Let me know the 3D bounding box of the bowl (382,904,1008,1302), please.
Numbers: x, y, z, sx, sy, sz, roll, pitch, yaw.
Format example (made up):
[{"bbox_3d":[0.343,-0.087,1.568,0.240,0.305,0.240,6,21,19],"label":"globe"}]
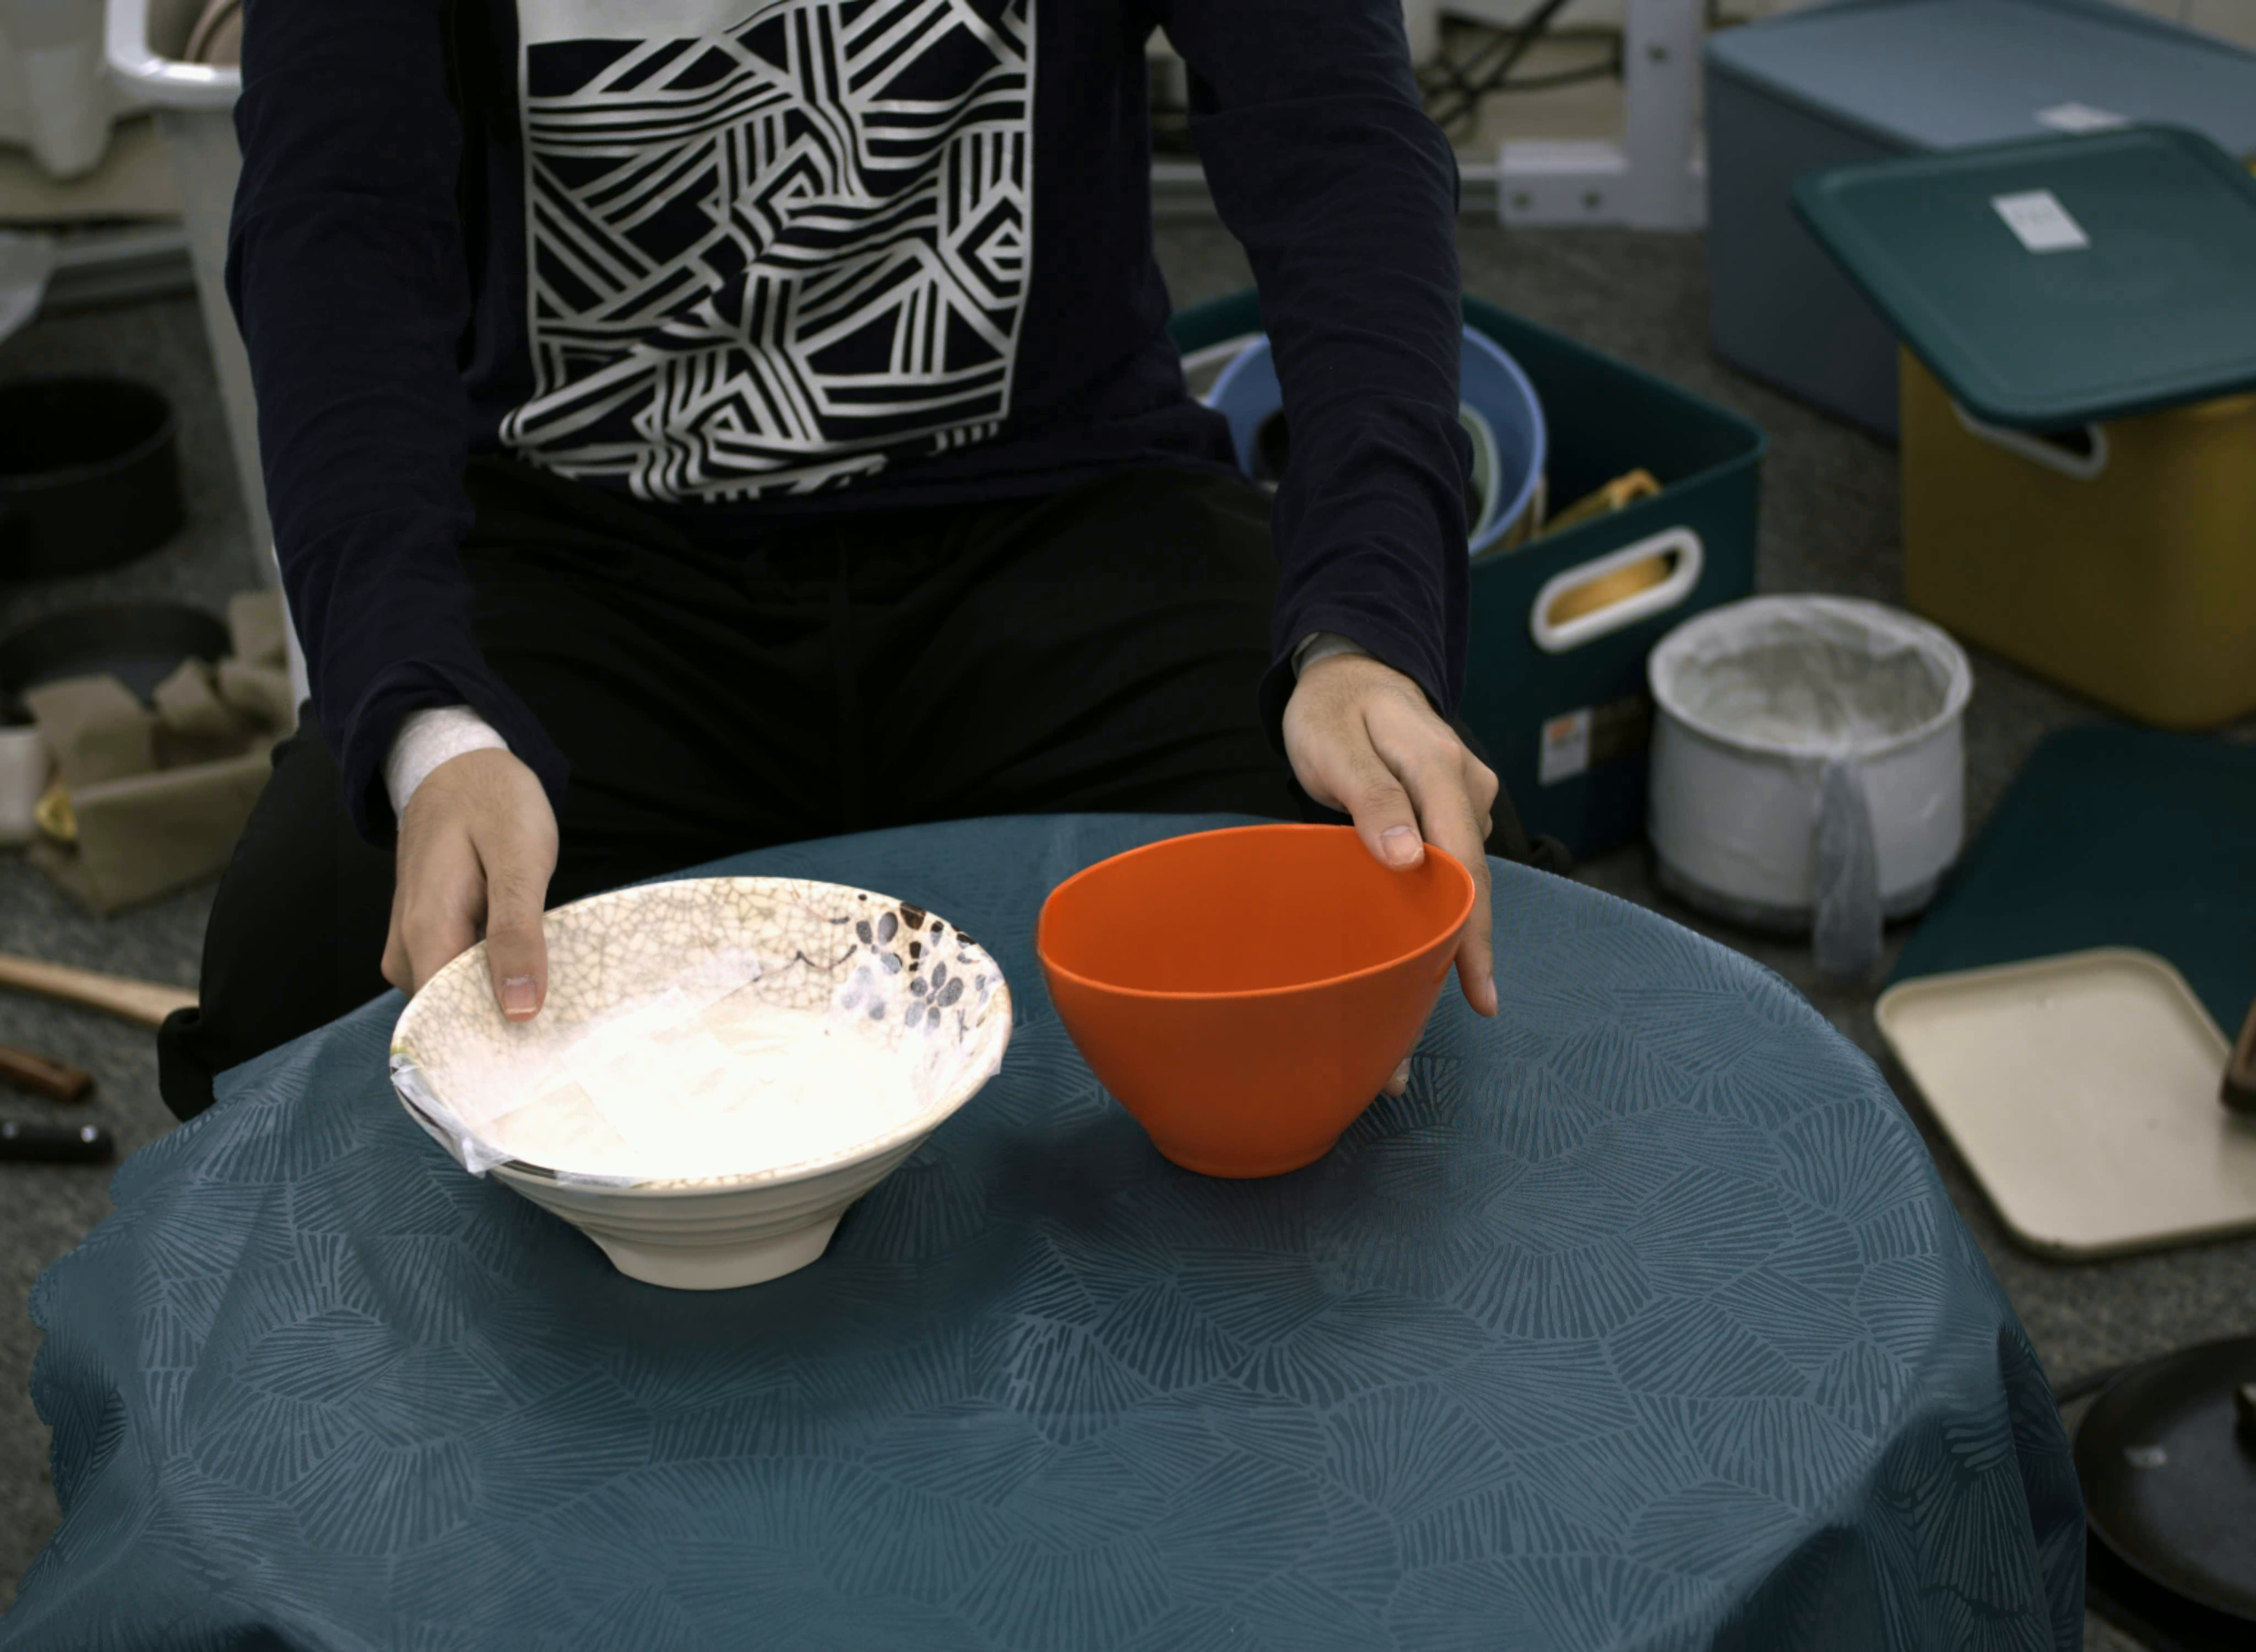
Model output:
[{"bbox_3d":[-0.140,0.102,1.837,0.203,0.077,0.206,-1,23,1],"label":"bowl"}]

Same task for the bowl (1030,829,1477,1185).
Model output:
[{"bbox_3d":[0.042,0.064,1.861,0.147,0.103,0.150,-1,27,1],"label":"bowl"}]
